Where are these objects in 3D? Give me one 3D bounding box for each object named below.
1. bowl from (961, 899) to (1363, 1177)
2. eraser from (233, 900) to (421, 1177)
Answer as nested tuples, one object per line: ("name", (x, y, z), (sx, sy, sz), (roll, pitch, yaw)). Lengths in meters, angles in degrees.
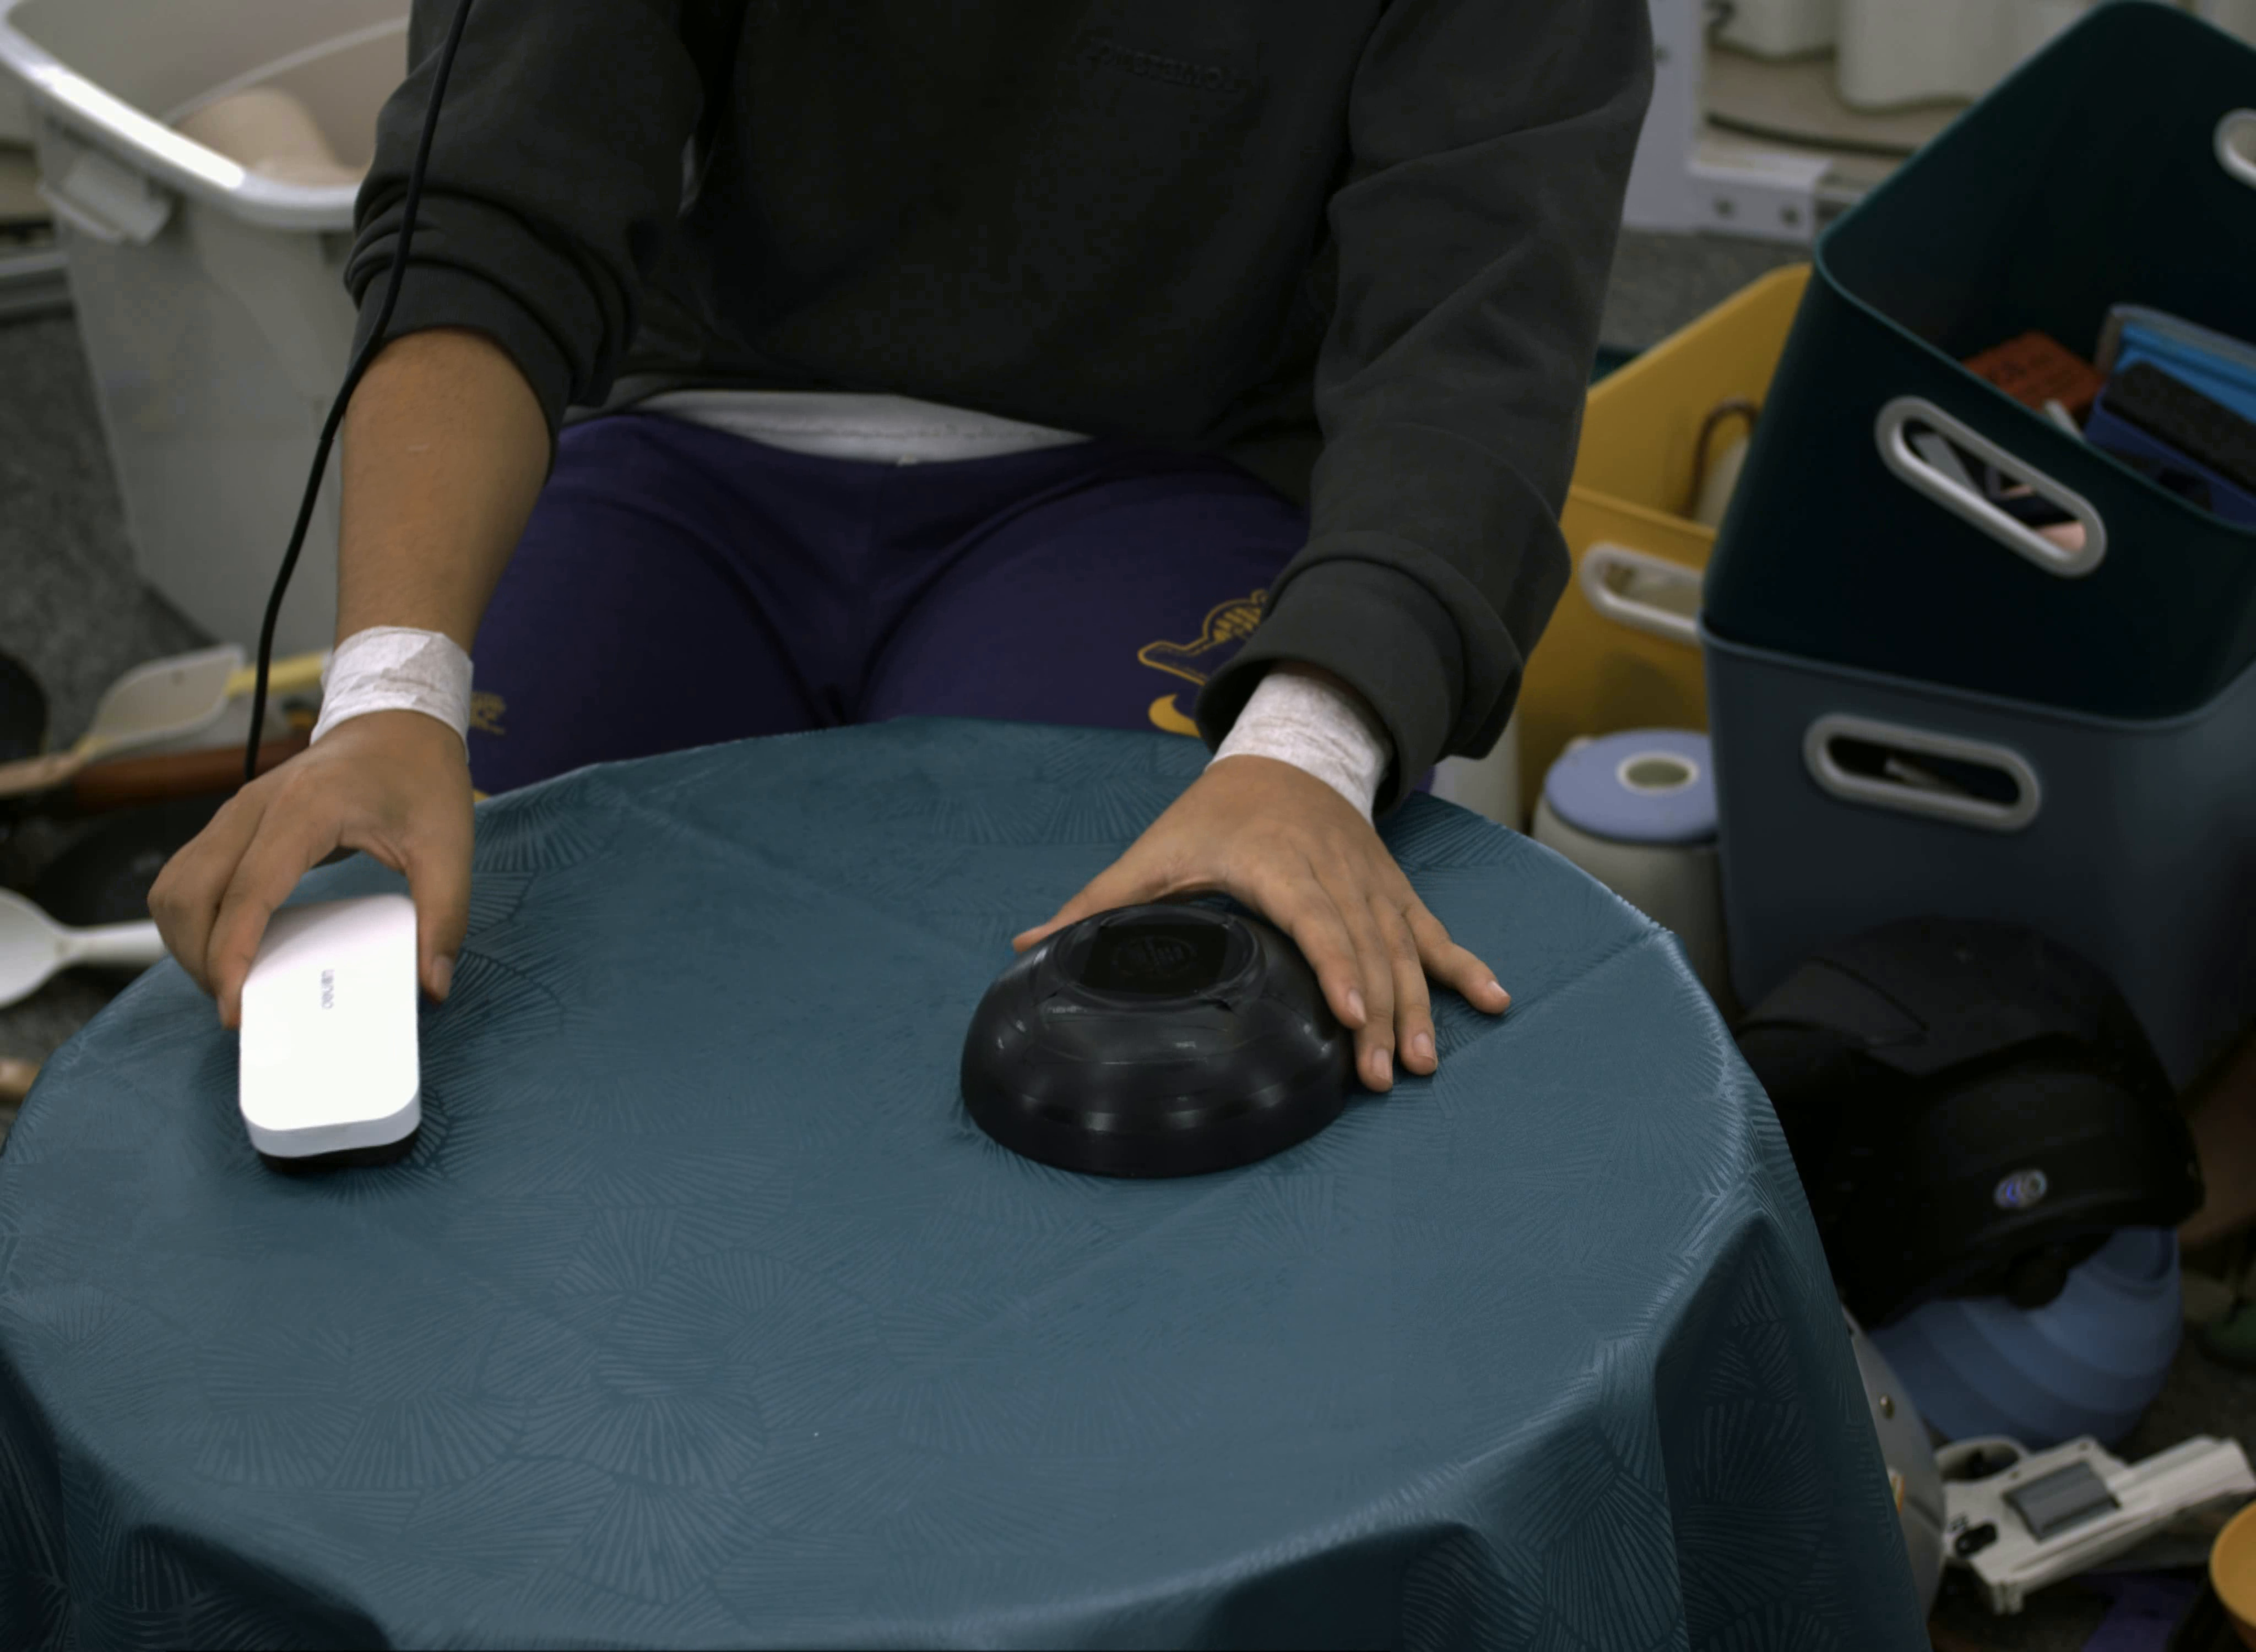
("bowl", (0.010, 0.063, 1.919), (0.139, 0.049, 0.142), (-3, 28, 2))
("eraser", (-0.274, 0.070, 1.940), (0.063, 0.034, 0.133), (-4, 34, -2))
